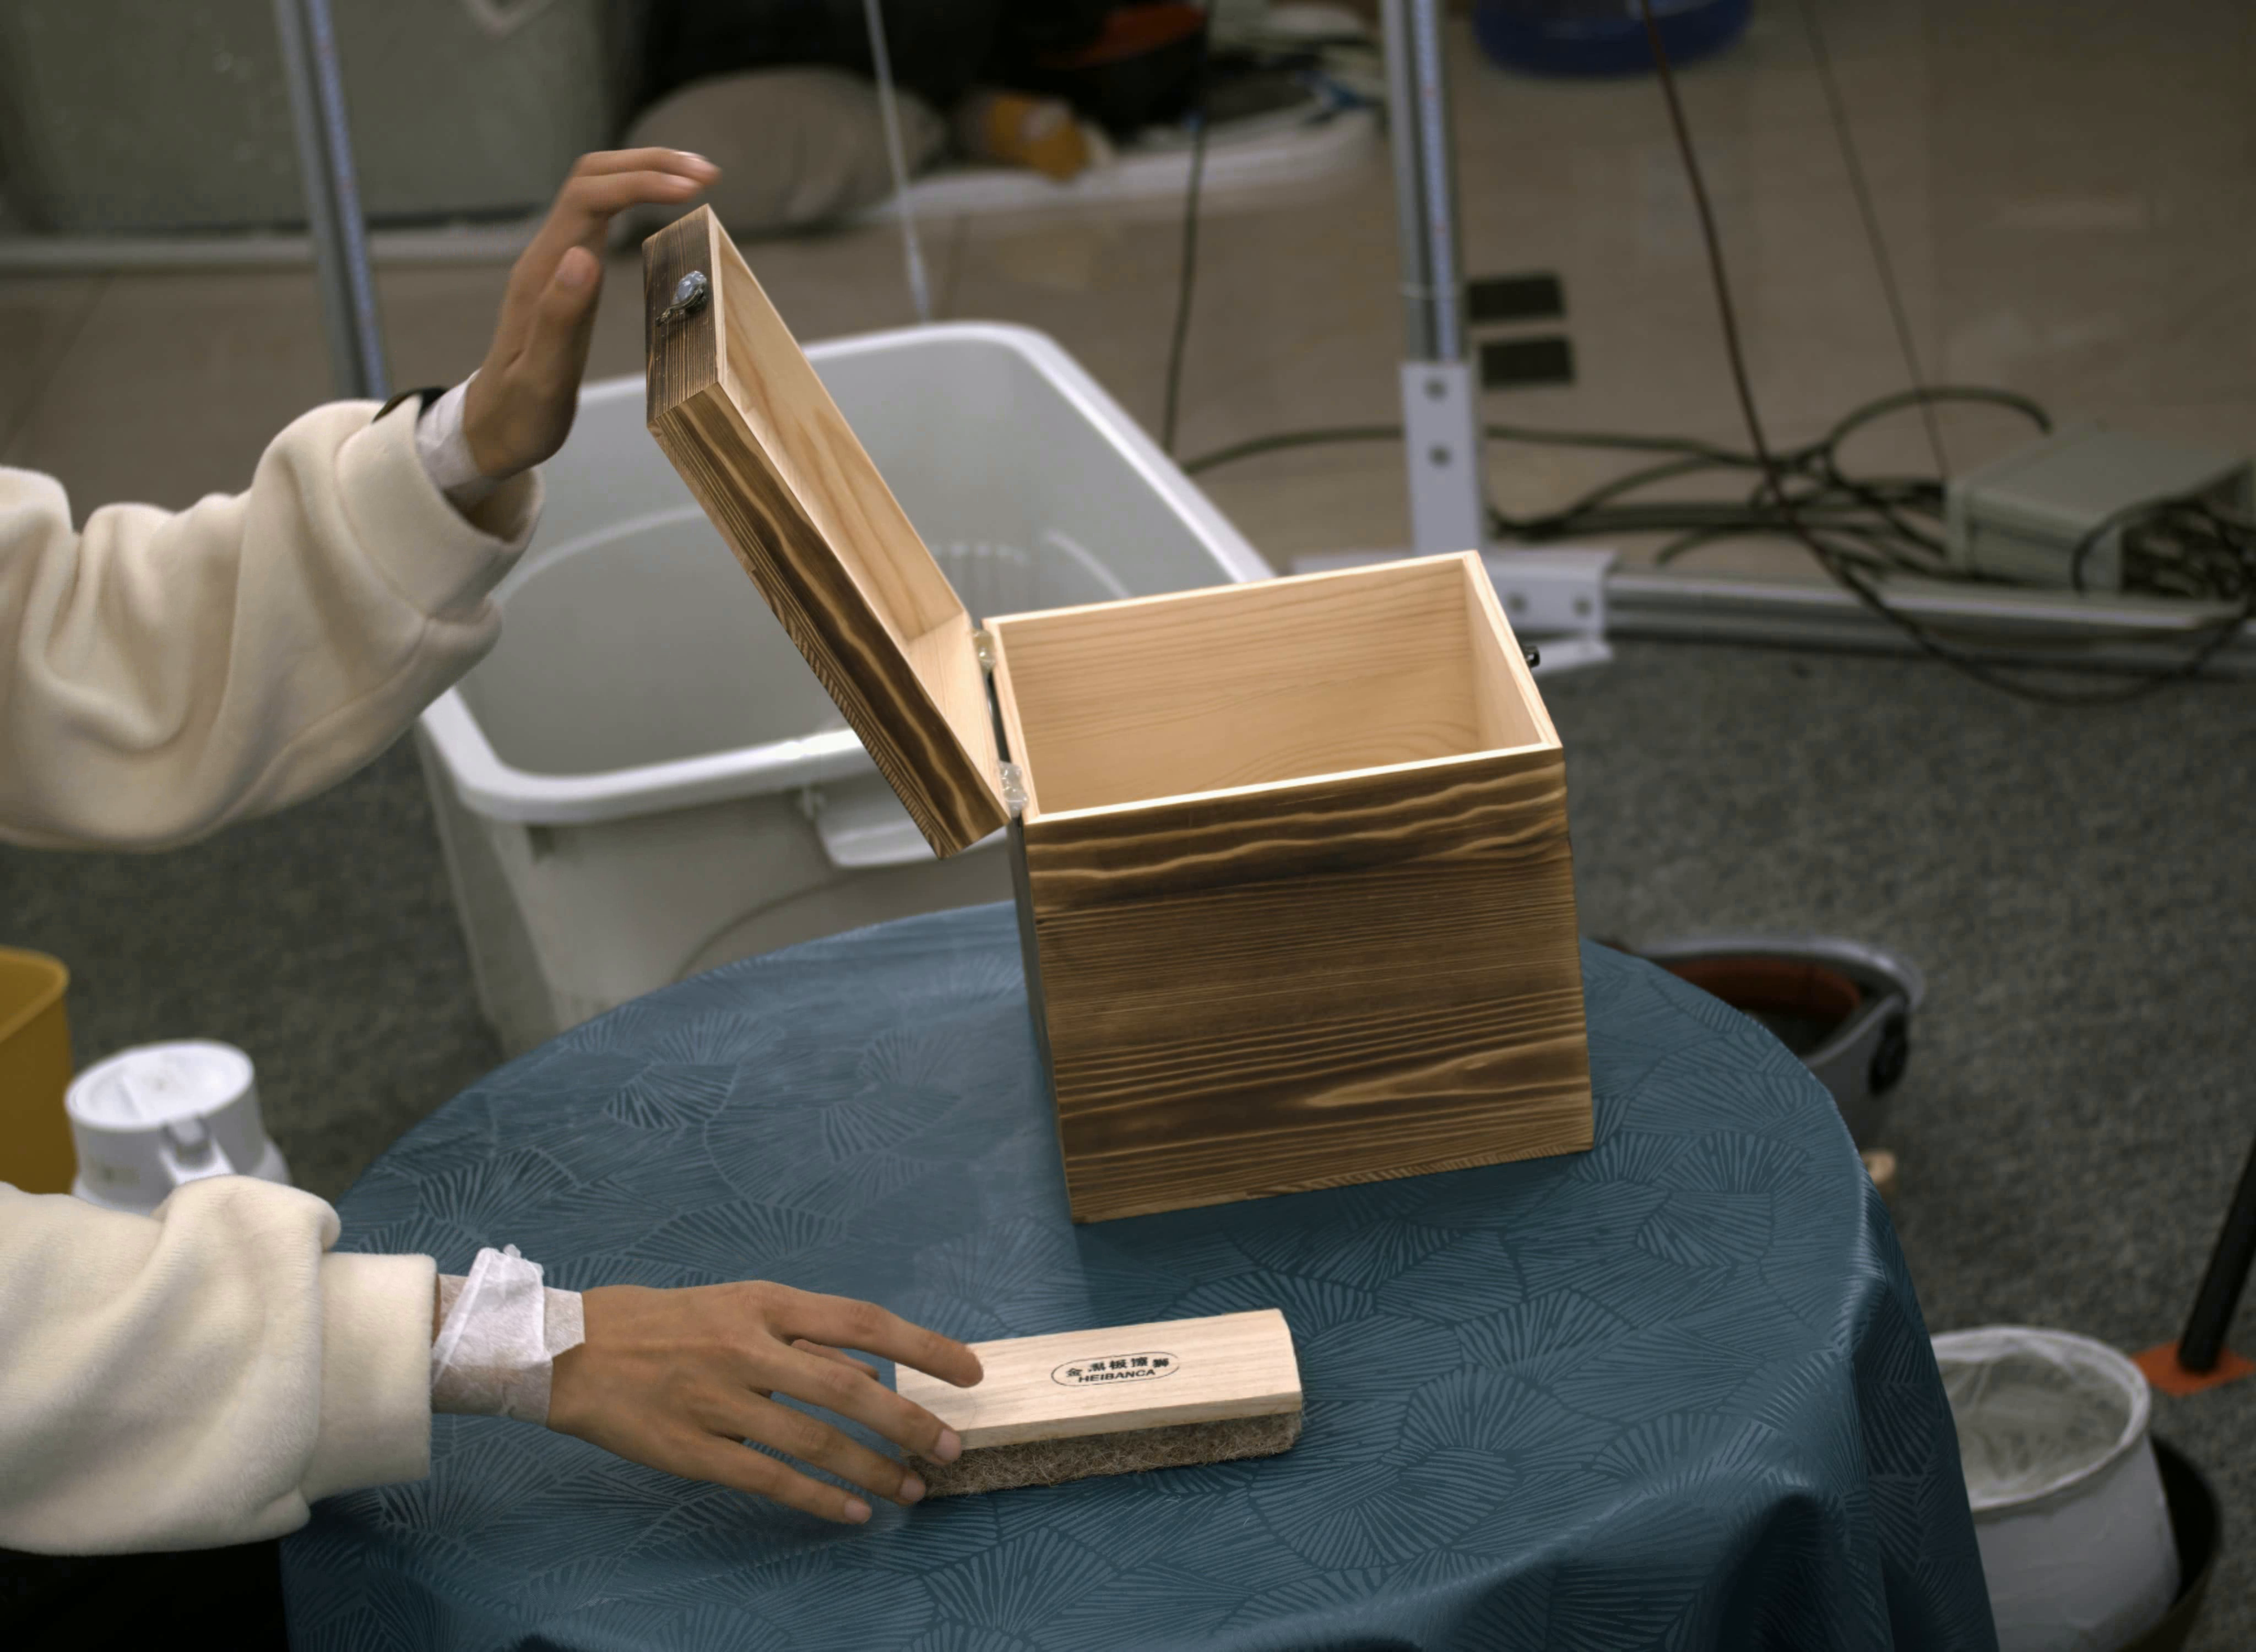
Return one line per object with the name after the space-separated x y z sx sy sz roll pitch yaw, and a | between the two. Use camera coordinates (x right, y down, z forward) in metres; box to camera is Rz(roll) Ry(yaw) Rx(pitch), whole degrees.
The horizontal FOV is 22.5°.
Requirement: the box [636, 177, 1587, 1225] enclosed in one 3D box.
-0.001 -0.059 2.136 0.321 0.381 0.205 -8 27 -3 | box

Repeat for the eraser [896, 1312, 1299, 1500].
-0.010 0.202 1.982 0.139 0.029 0.056 -7 28 1 | eraser
